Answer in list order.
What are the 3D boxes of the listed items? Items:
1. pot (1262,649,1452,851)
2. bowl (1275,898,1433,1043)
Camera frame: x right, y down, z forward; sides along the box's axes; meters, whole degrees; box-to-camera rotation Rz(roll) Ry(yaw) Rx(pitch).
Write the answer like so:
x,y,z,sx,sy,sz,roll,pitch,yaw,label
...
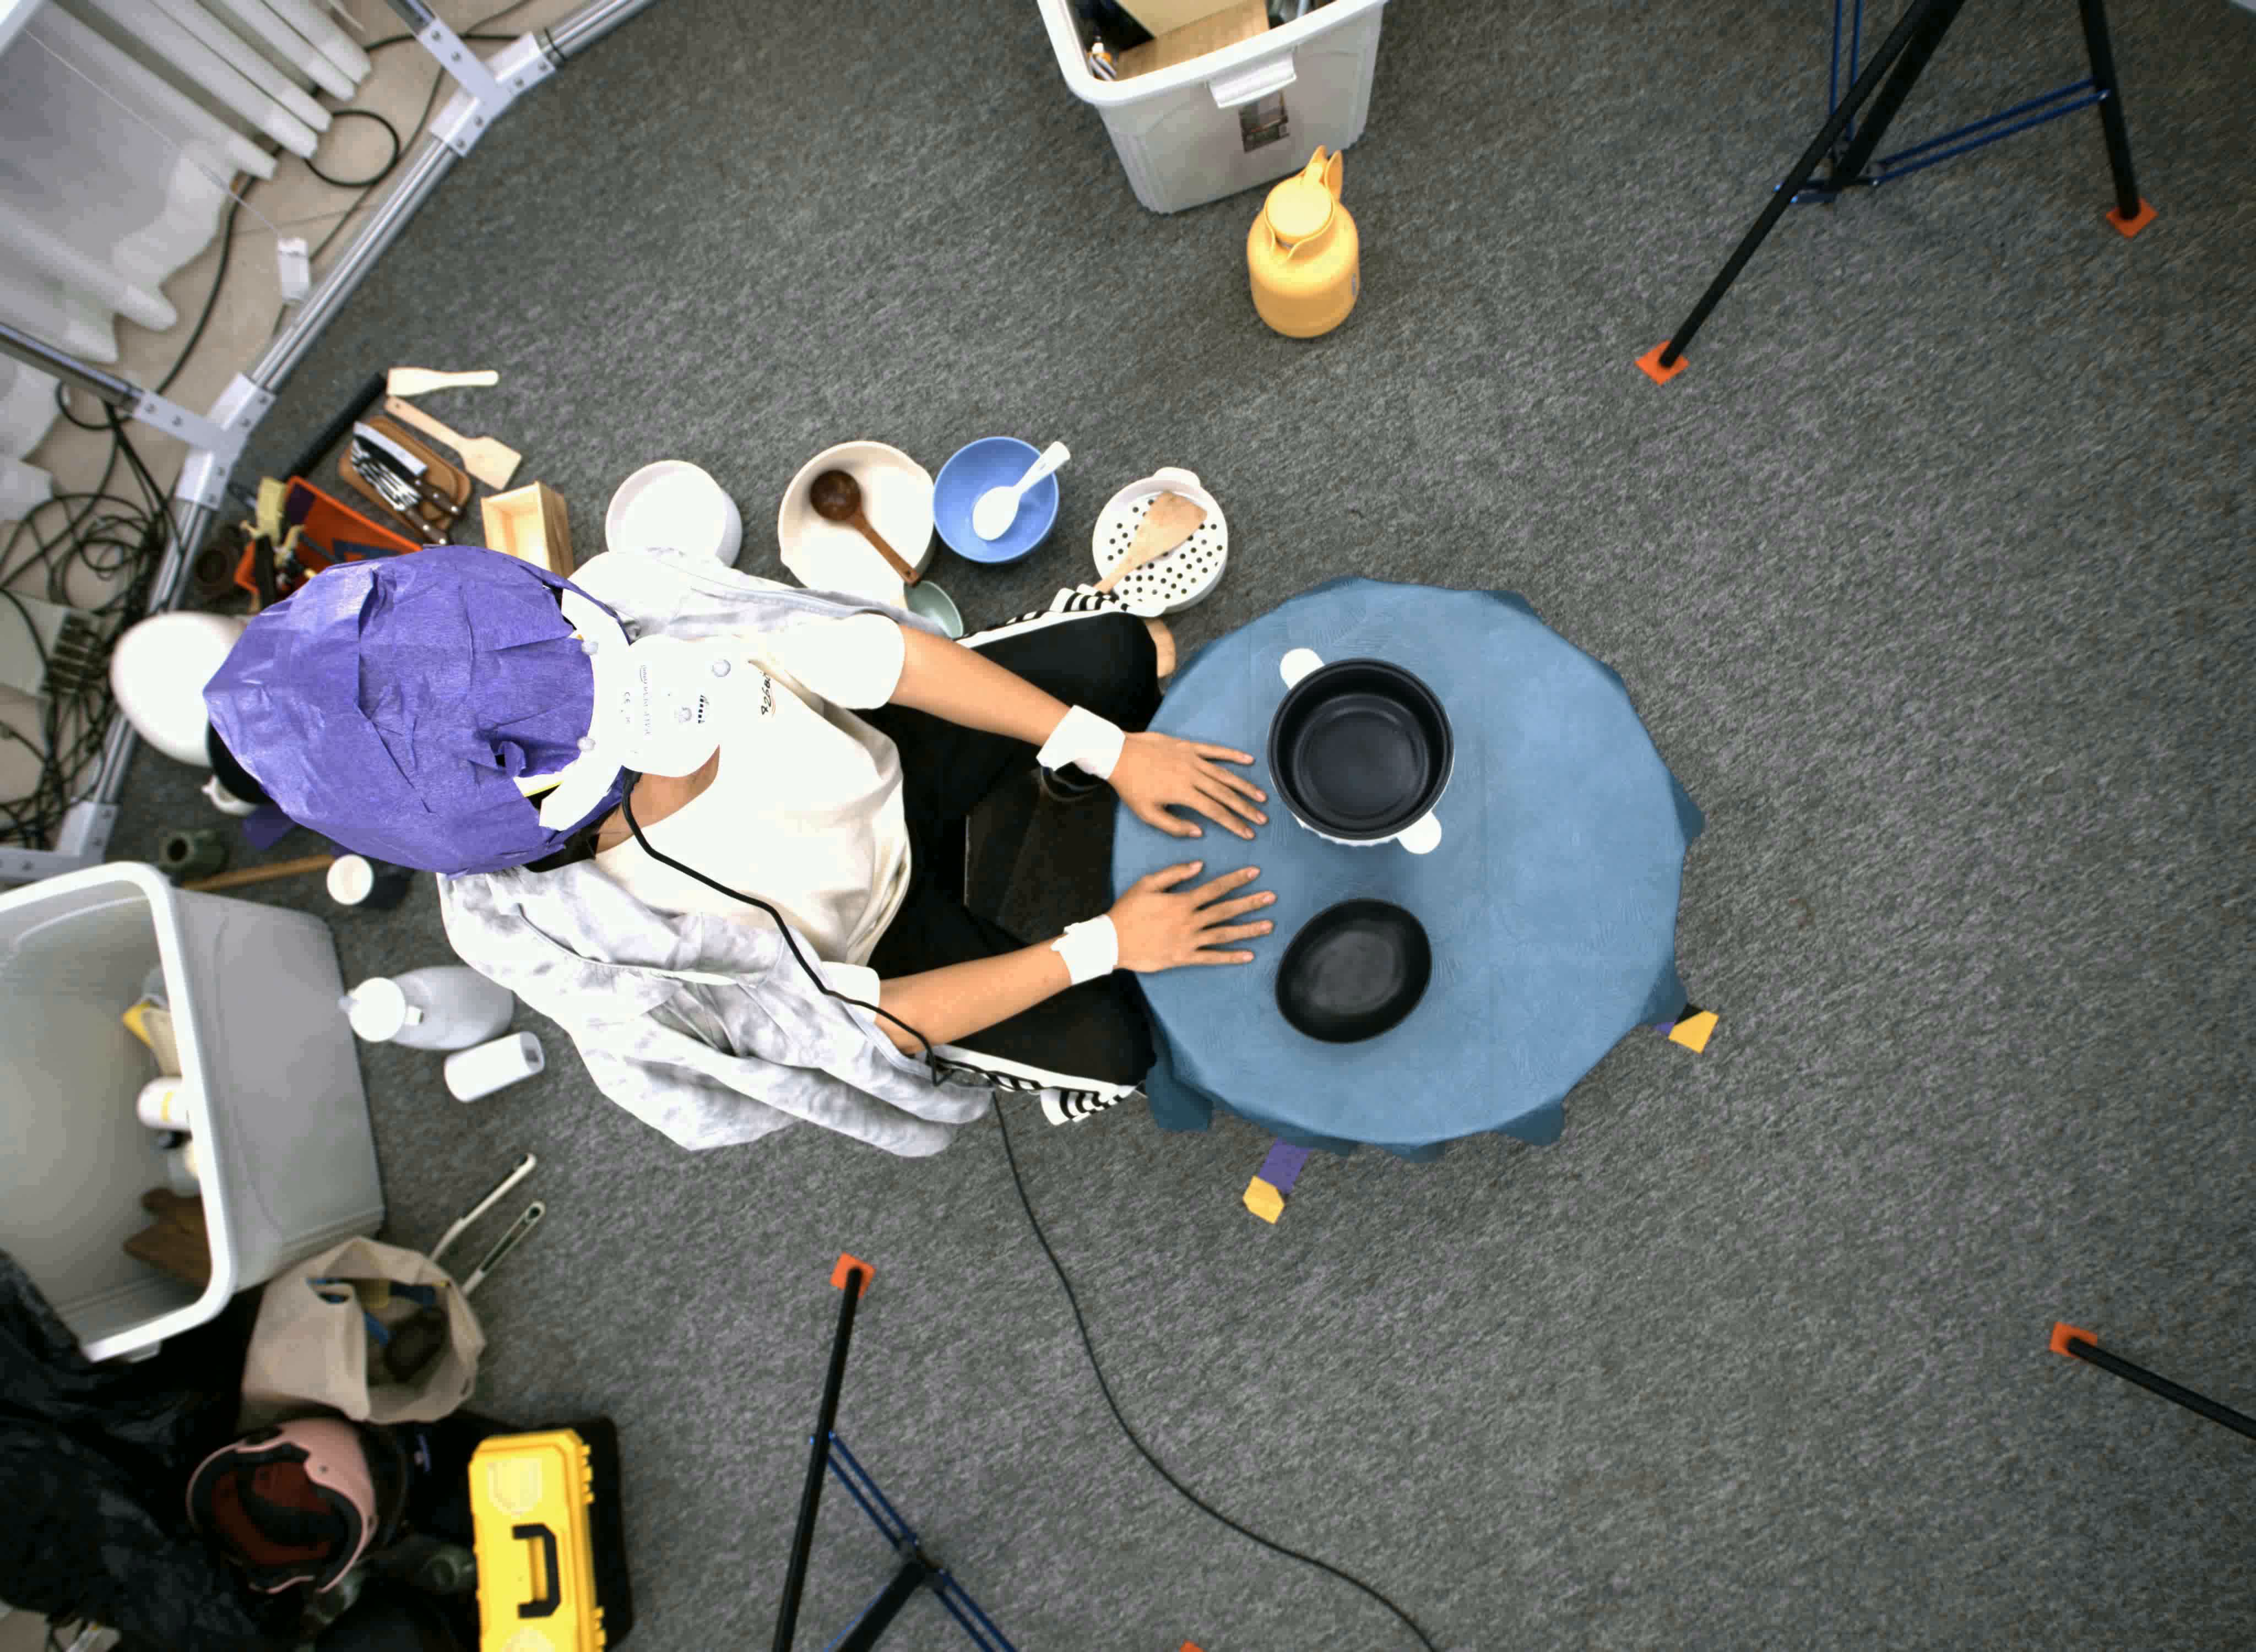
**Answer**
x,y,z,sx,sy,sz,roll,pitch,yaw,label
0.239,-0.074,1.402,0.192,0.142,0.239,-37,81,9,pot
0.234,0.150,1.428,0.171,0.067,0.136,-36,79,7,bowl
